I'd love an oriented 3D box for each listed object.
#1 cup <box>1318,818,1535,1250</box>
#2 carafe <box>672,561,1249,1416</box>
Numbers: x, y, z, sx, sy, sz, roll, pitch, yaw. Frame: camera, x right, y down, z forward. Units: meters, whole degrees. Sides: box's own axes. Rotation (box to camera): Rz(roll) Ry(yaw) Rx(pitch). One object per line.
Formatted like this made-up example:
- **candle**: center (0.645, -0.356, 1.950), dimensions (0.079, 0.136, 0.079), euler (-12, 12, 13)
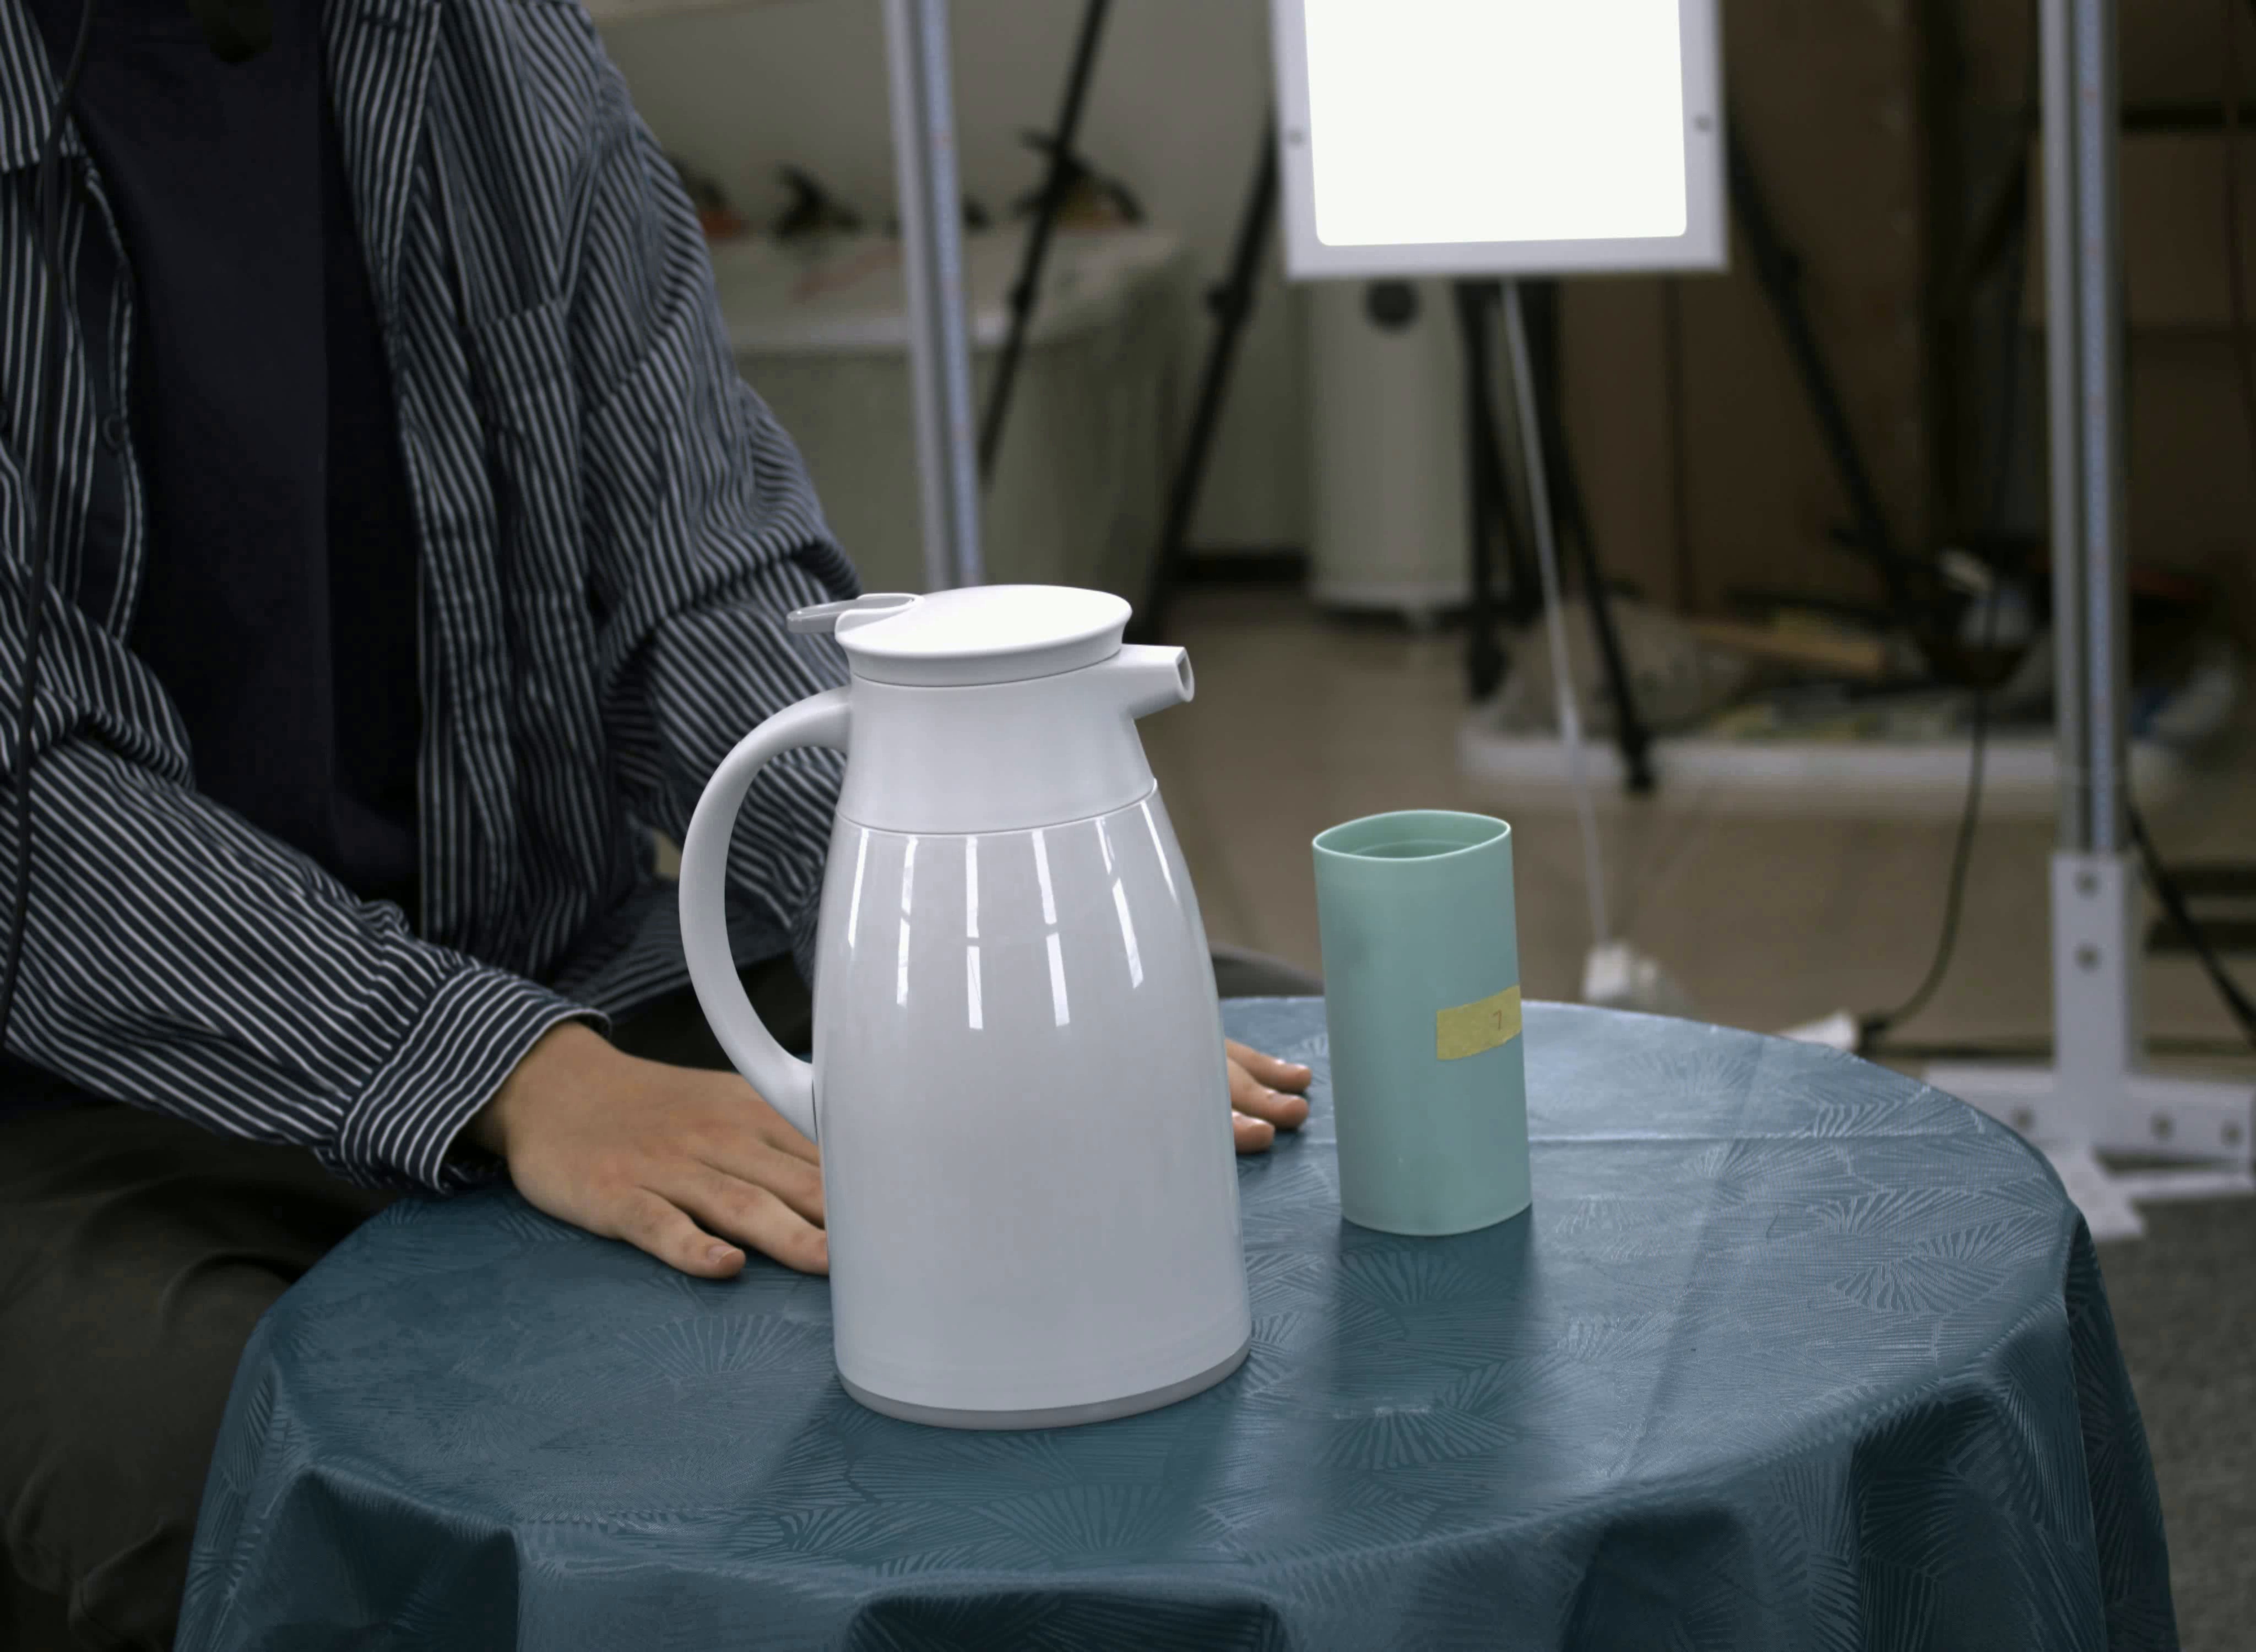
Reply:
- **cup**: center (0.100, 0.068, 1.833), dimensions (0.066, 0.133, 0.066), euler (-4, 14, 0)
- **carafe**: center (-0.056, 0.045, 1.706), dimensions (0.168, 0.249, 0.131), euler (-3, 14, 10)
